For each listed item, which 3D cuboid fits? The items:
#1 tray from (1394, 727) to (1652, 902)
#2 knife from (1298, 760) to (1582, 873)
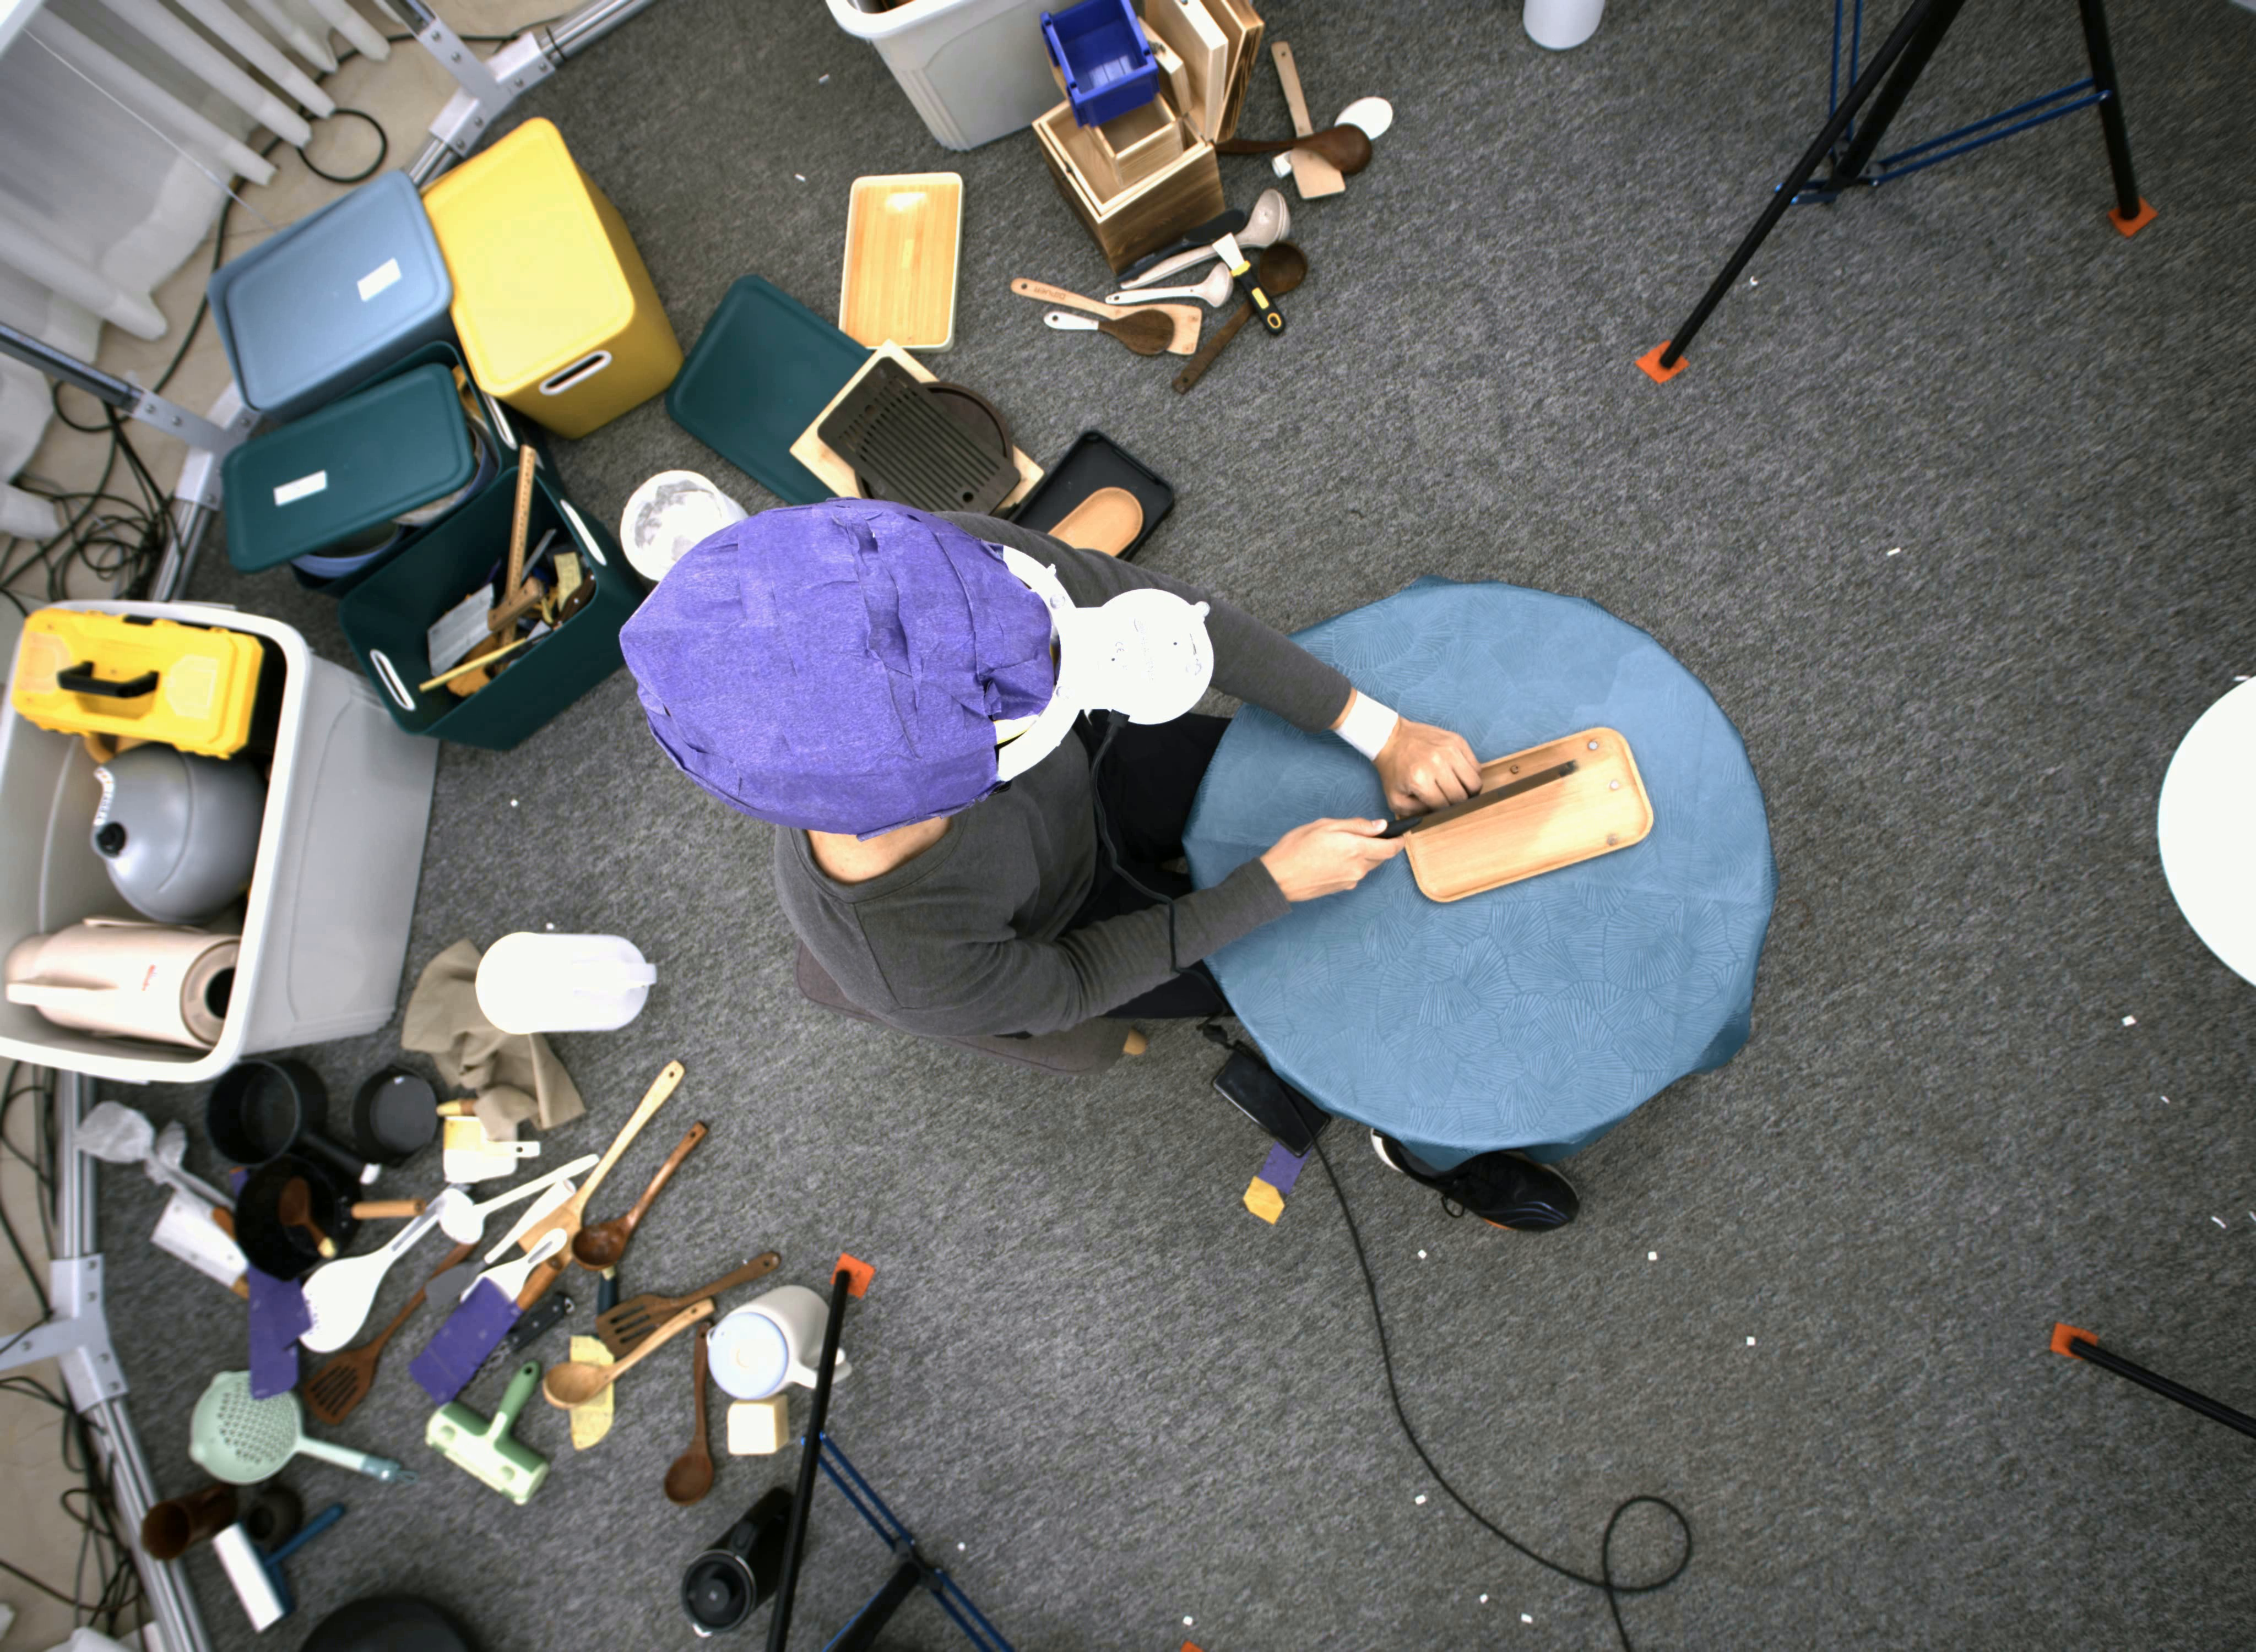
[{"bbox_3d":[0.410,-0.013,1.431,0.252,0.023,0.129,-17,81,10],"label":"tray"},{"bbox_3d":[0.318,-0.011,1.403,0.303,0.081,0.020,-20,74,4],"label":"knife"}]
